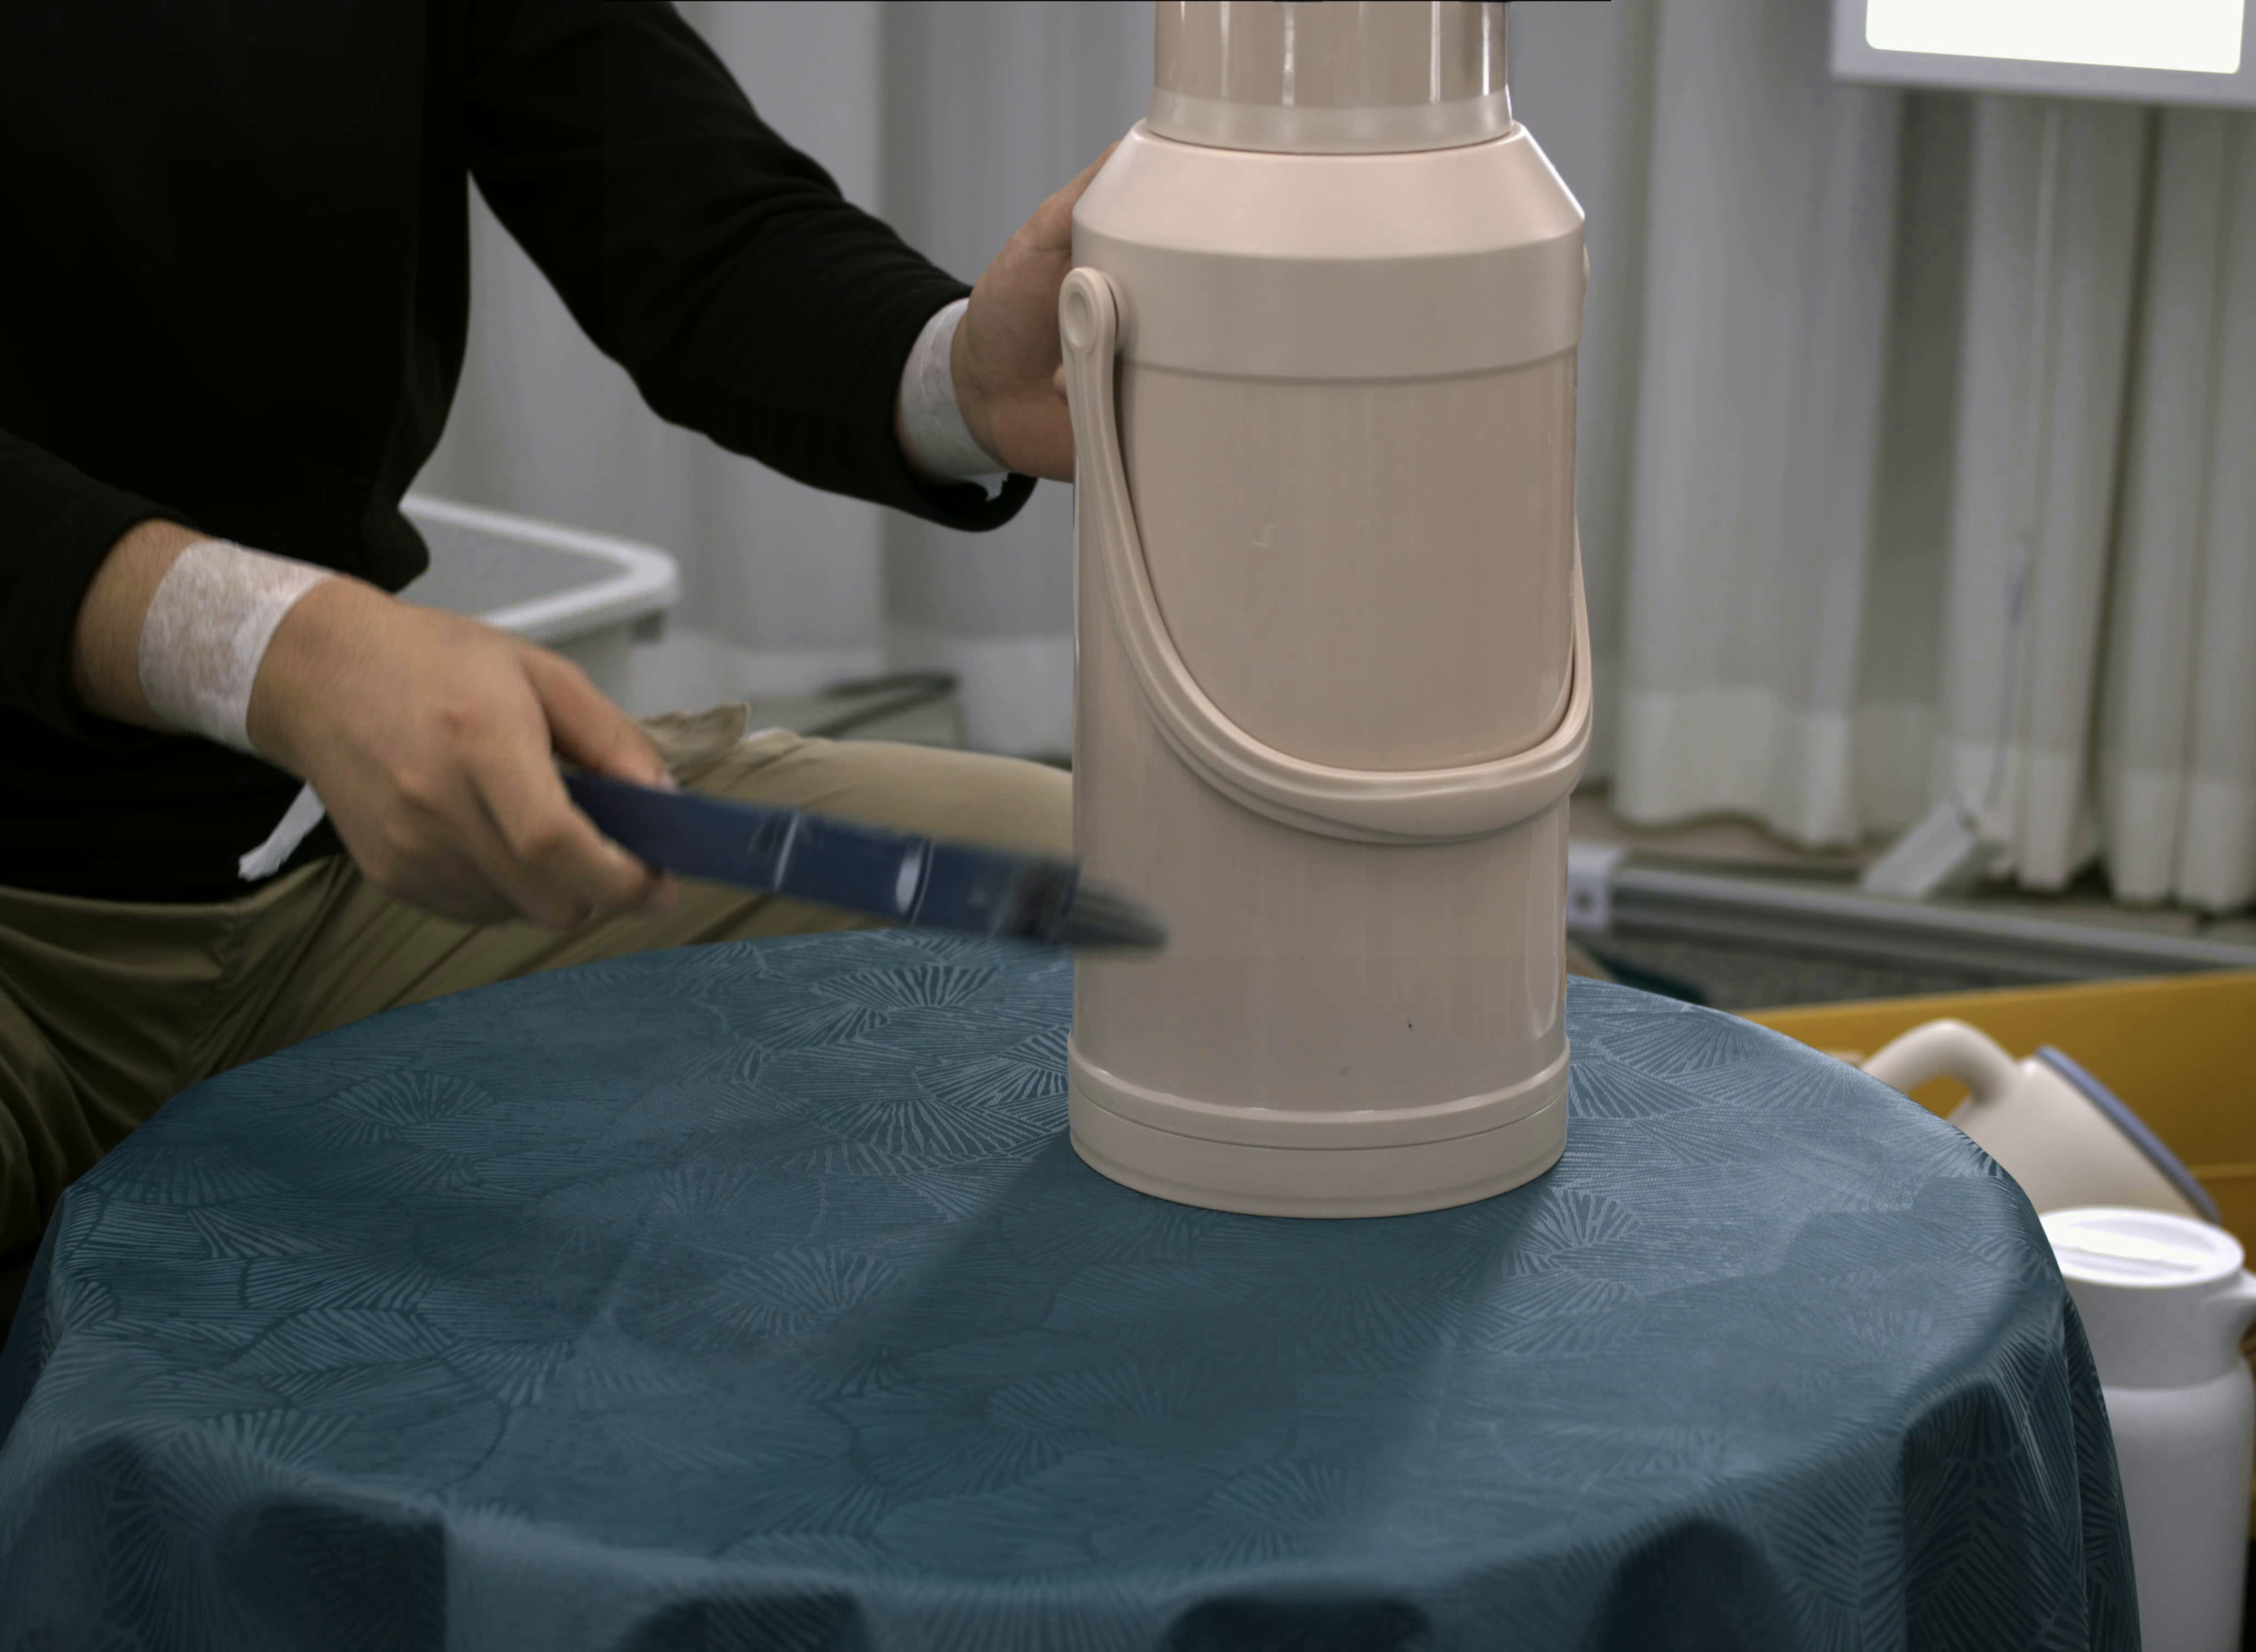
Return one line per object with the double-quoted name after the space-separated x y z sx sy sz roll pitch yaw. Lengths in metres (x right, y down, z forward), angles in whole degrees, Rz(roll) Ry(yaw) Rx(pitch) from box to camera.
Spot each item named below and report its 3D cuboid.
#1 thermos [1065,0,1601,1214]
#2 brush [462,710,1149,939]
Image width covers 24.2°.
0.057 -0.097 1.631 0.176 0.410 0.204 -11 20 -29 "thermos"
-0.107 -0.003 1.470 0.269 0.033 0.097 12 -4 36 "brush"
